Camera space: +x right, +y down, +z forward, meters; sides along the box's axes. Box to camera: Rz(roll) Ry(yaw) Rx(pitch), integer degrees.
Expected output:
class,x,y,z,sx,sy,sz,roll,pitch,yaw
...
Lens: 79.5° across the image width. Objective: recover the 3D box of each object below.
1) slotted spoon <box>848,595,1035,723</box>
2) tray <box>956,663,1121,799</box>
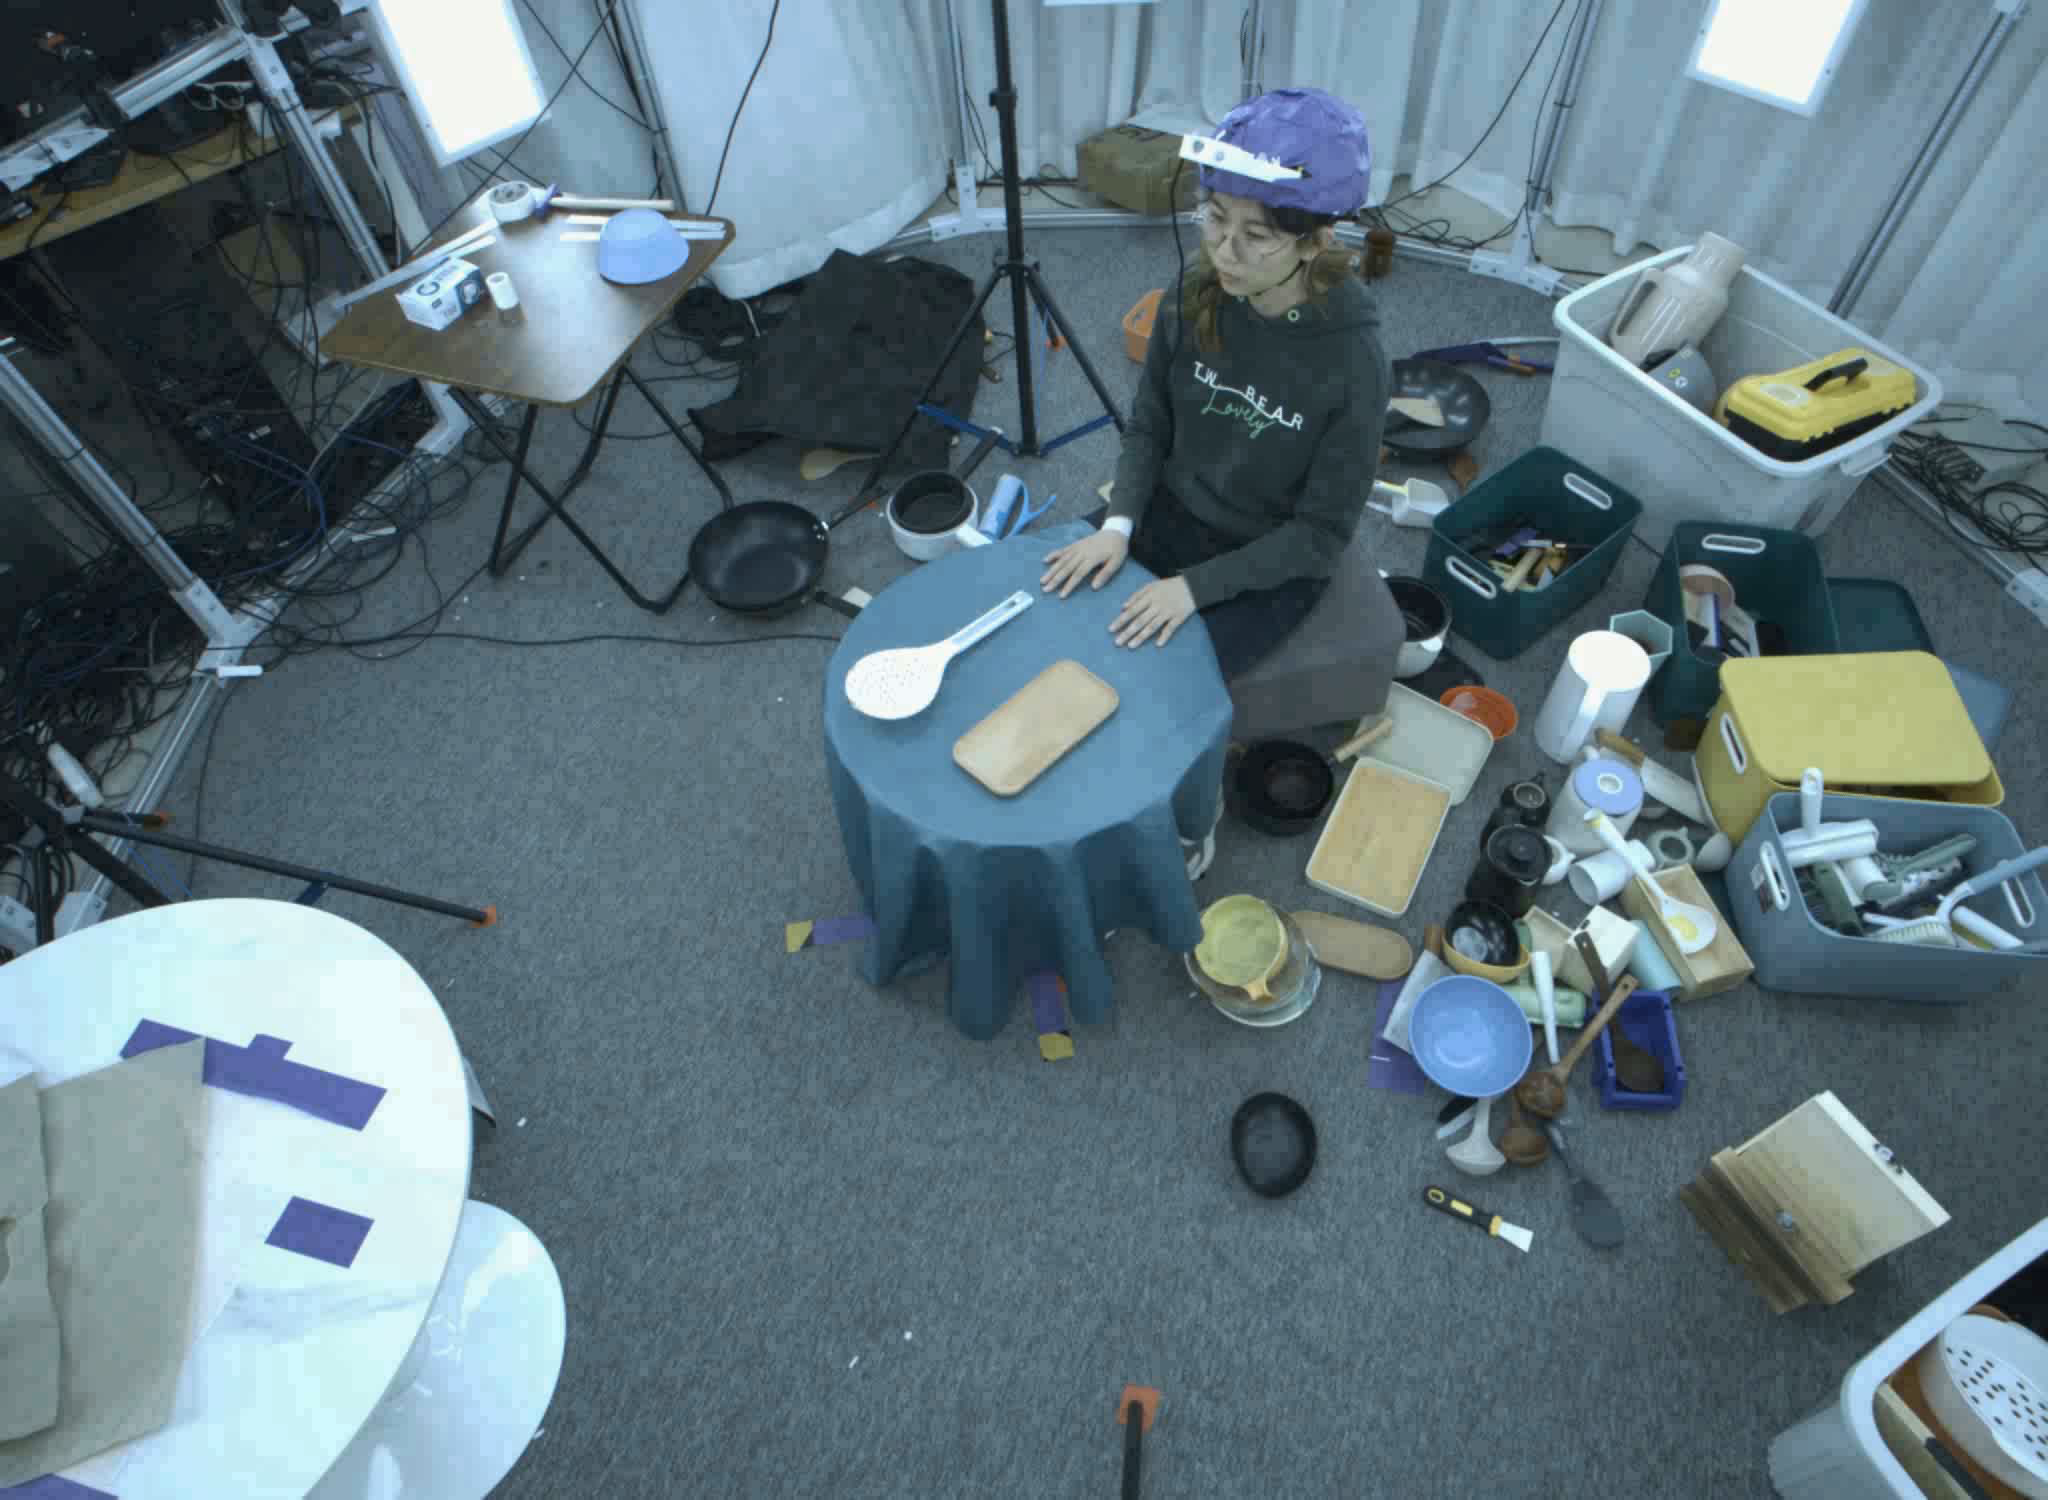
class,x,y,z,sx,sy,sz,roll,pitch,yaw
slotted spoon,-0.116,-0.147,1.877,0.352,0.046,0.134,-39,65,-24
tray,0.023,-0.030,1.808,0.128,0.023,0.252,40,64,23
